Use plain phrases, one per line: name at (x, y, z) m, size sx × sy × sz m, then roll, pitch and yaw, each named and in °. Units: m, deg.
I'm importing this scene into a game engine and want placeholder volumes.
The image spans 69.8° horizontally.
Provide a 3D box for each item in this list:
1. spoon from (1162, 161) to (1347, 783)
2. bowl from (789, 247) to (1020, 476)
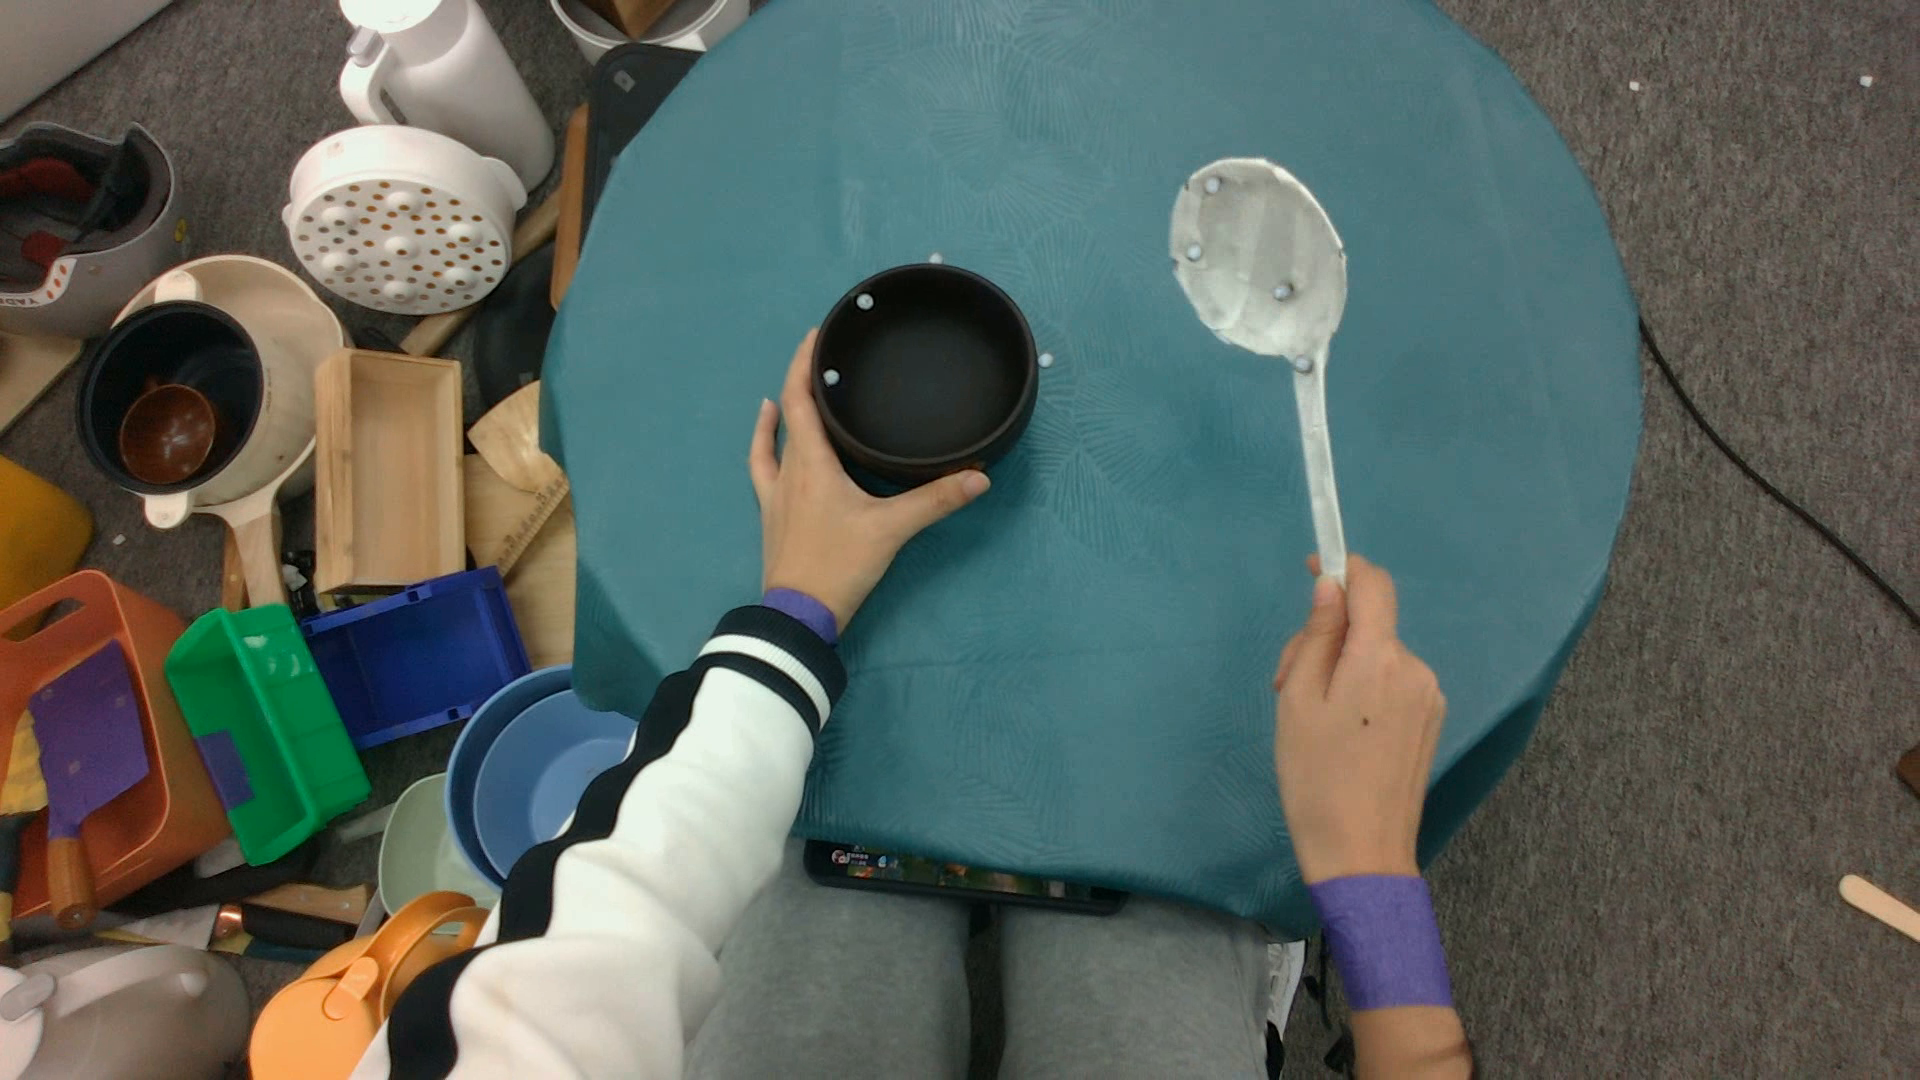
spoon at (0.132, -0.030, 0.617) m, size 0.059 × 0.100 × 0.278 m, roll 1°, pitch 81°, yaw -23°
bowl at (-0.027, -0.087, 0.725) m, size 0.118 × 0.069 × 0.118 m, roll -1°, pitch 72°, yaw 2°
